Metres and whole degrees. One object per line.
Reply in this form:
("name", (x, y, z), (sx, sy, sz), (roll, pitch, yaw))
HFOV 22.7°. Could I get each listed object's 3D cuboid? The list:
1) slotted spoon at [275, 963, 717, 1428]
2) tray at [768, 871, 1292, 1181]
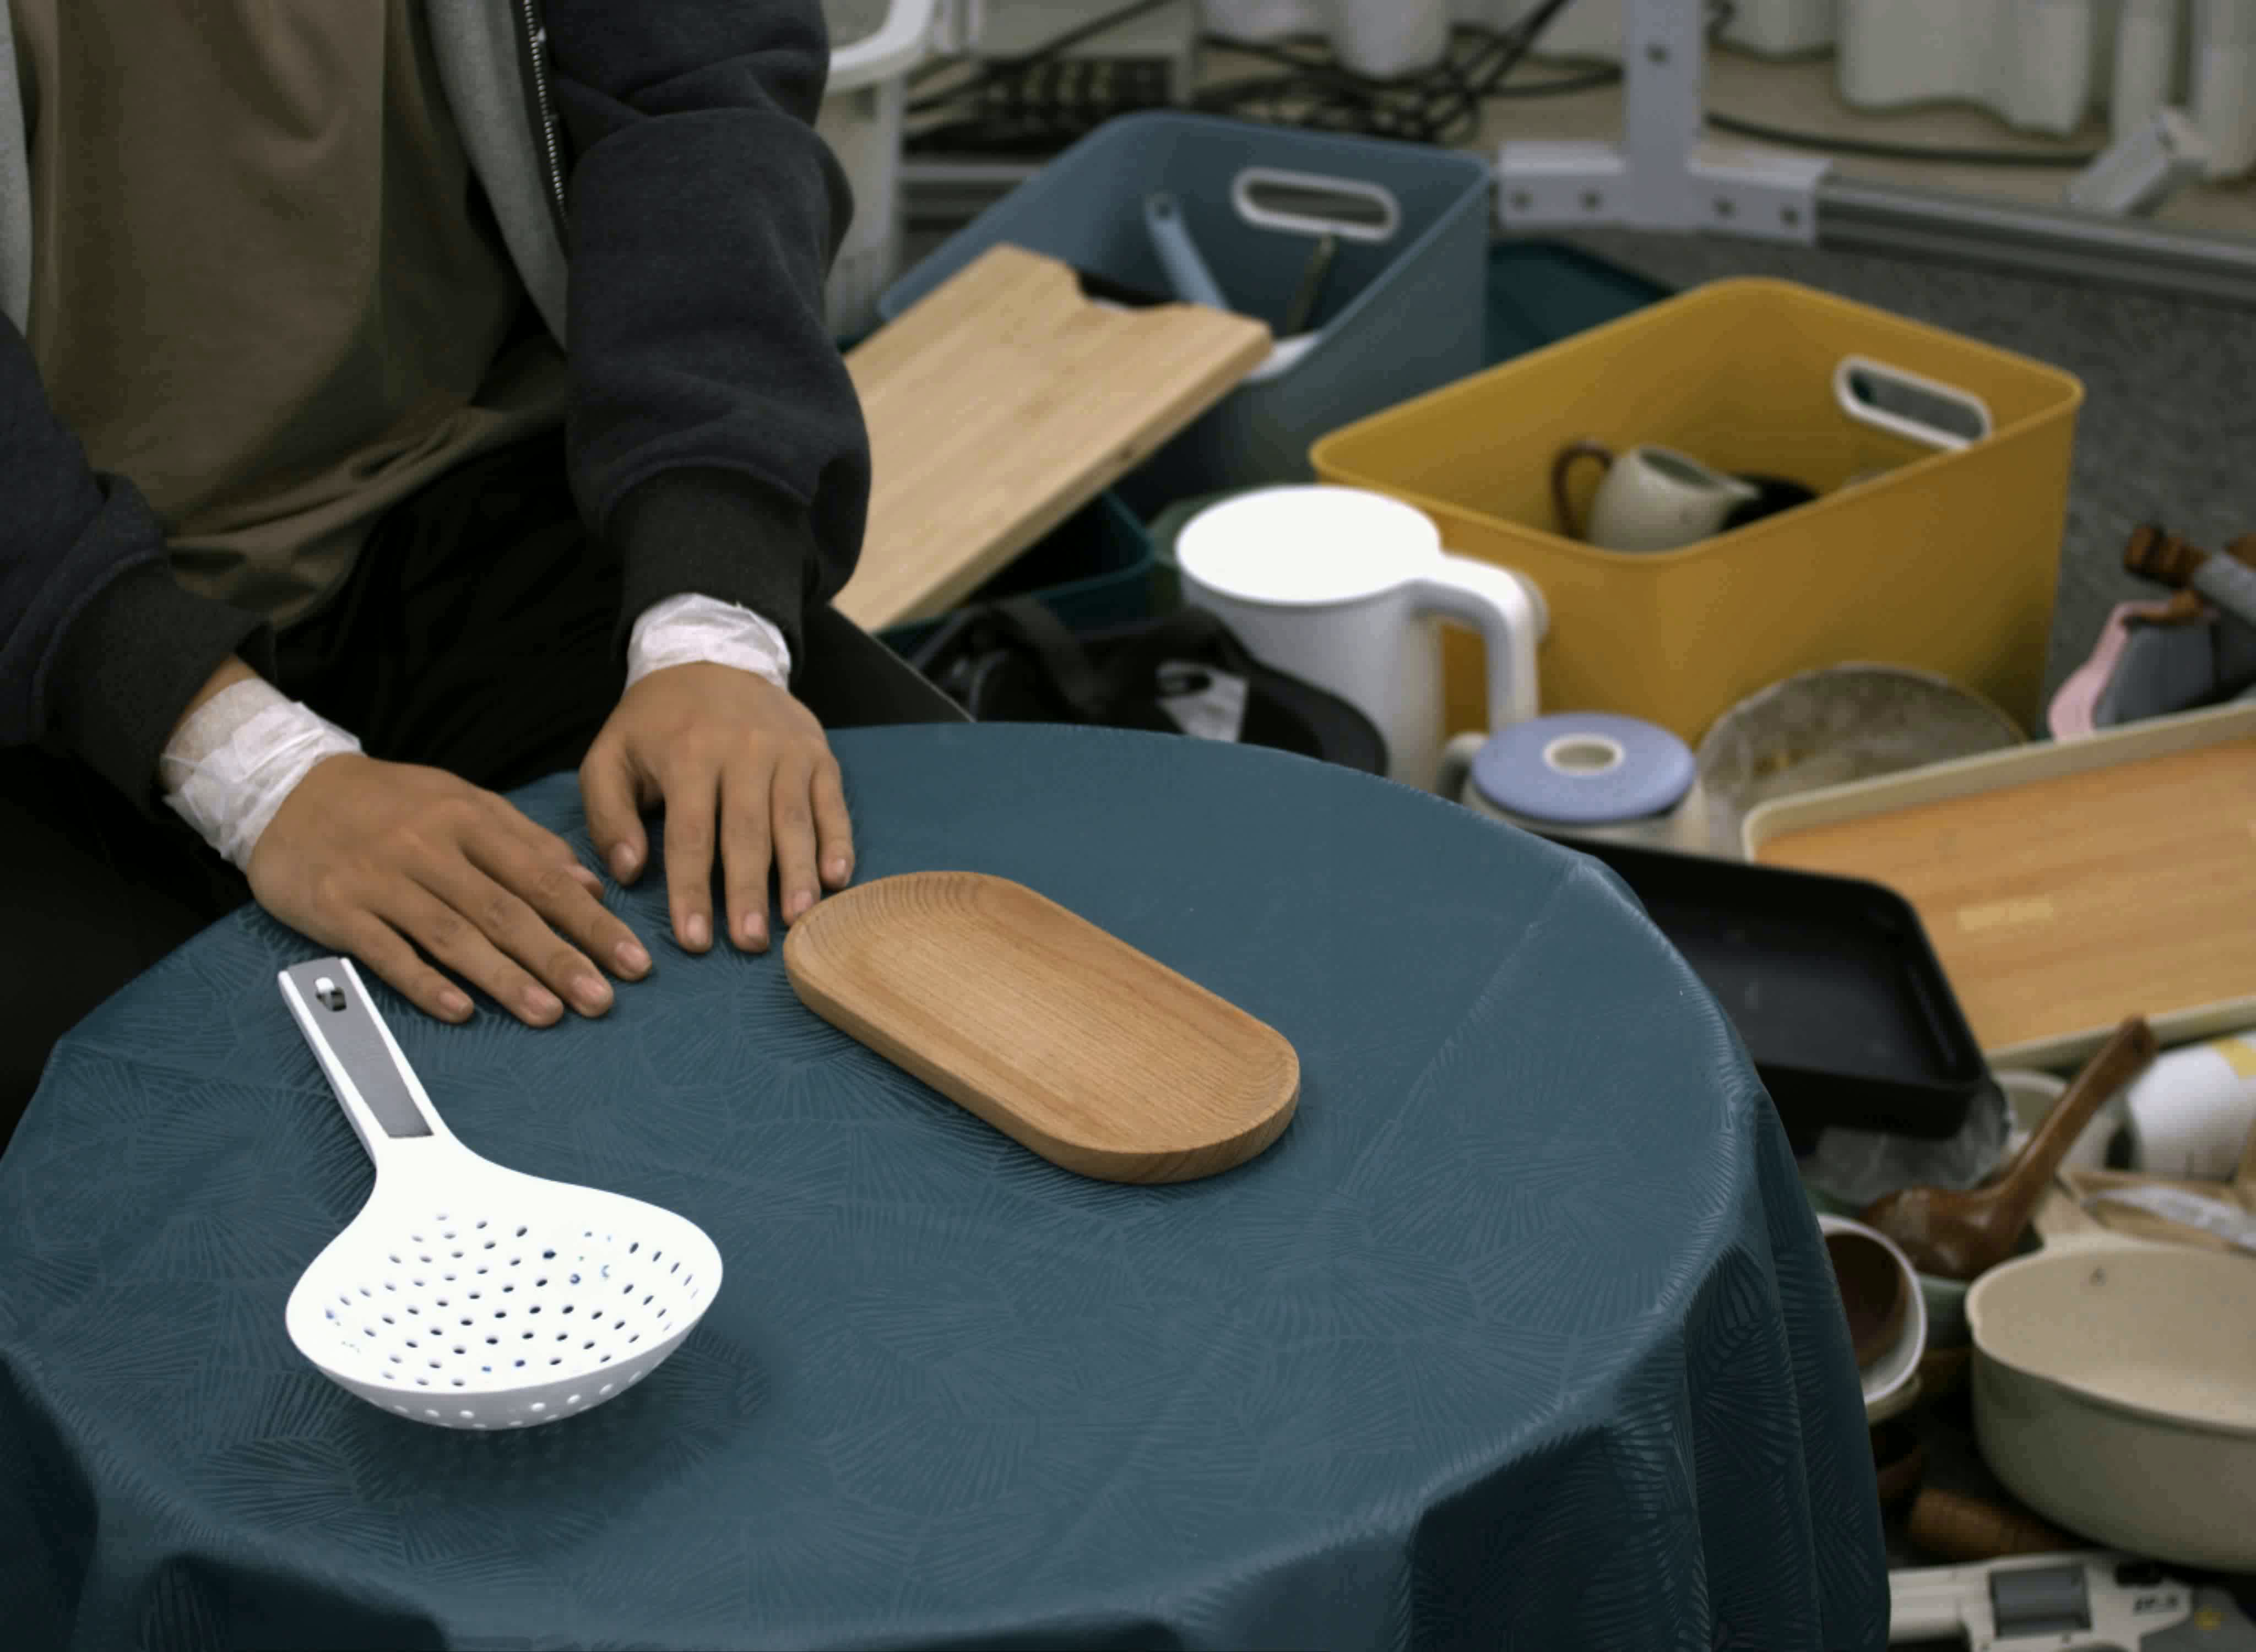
("slotted spoon", (-0.233, 0.115, 1.848), (0.136, 0.045, 0.352), (-10, 27, -18))
("tray", (-0.036, 0.068, 1.951), (0.102, 0.020, 0.231), (-22, 32, -34))
